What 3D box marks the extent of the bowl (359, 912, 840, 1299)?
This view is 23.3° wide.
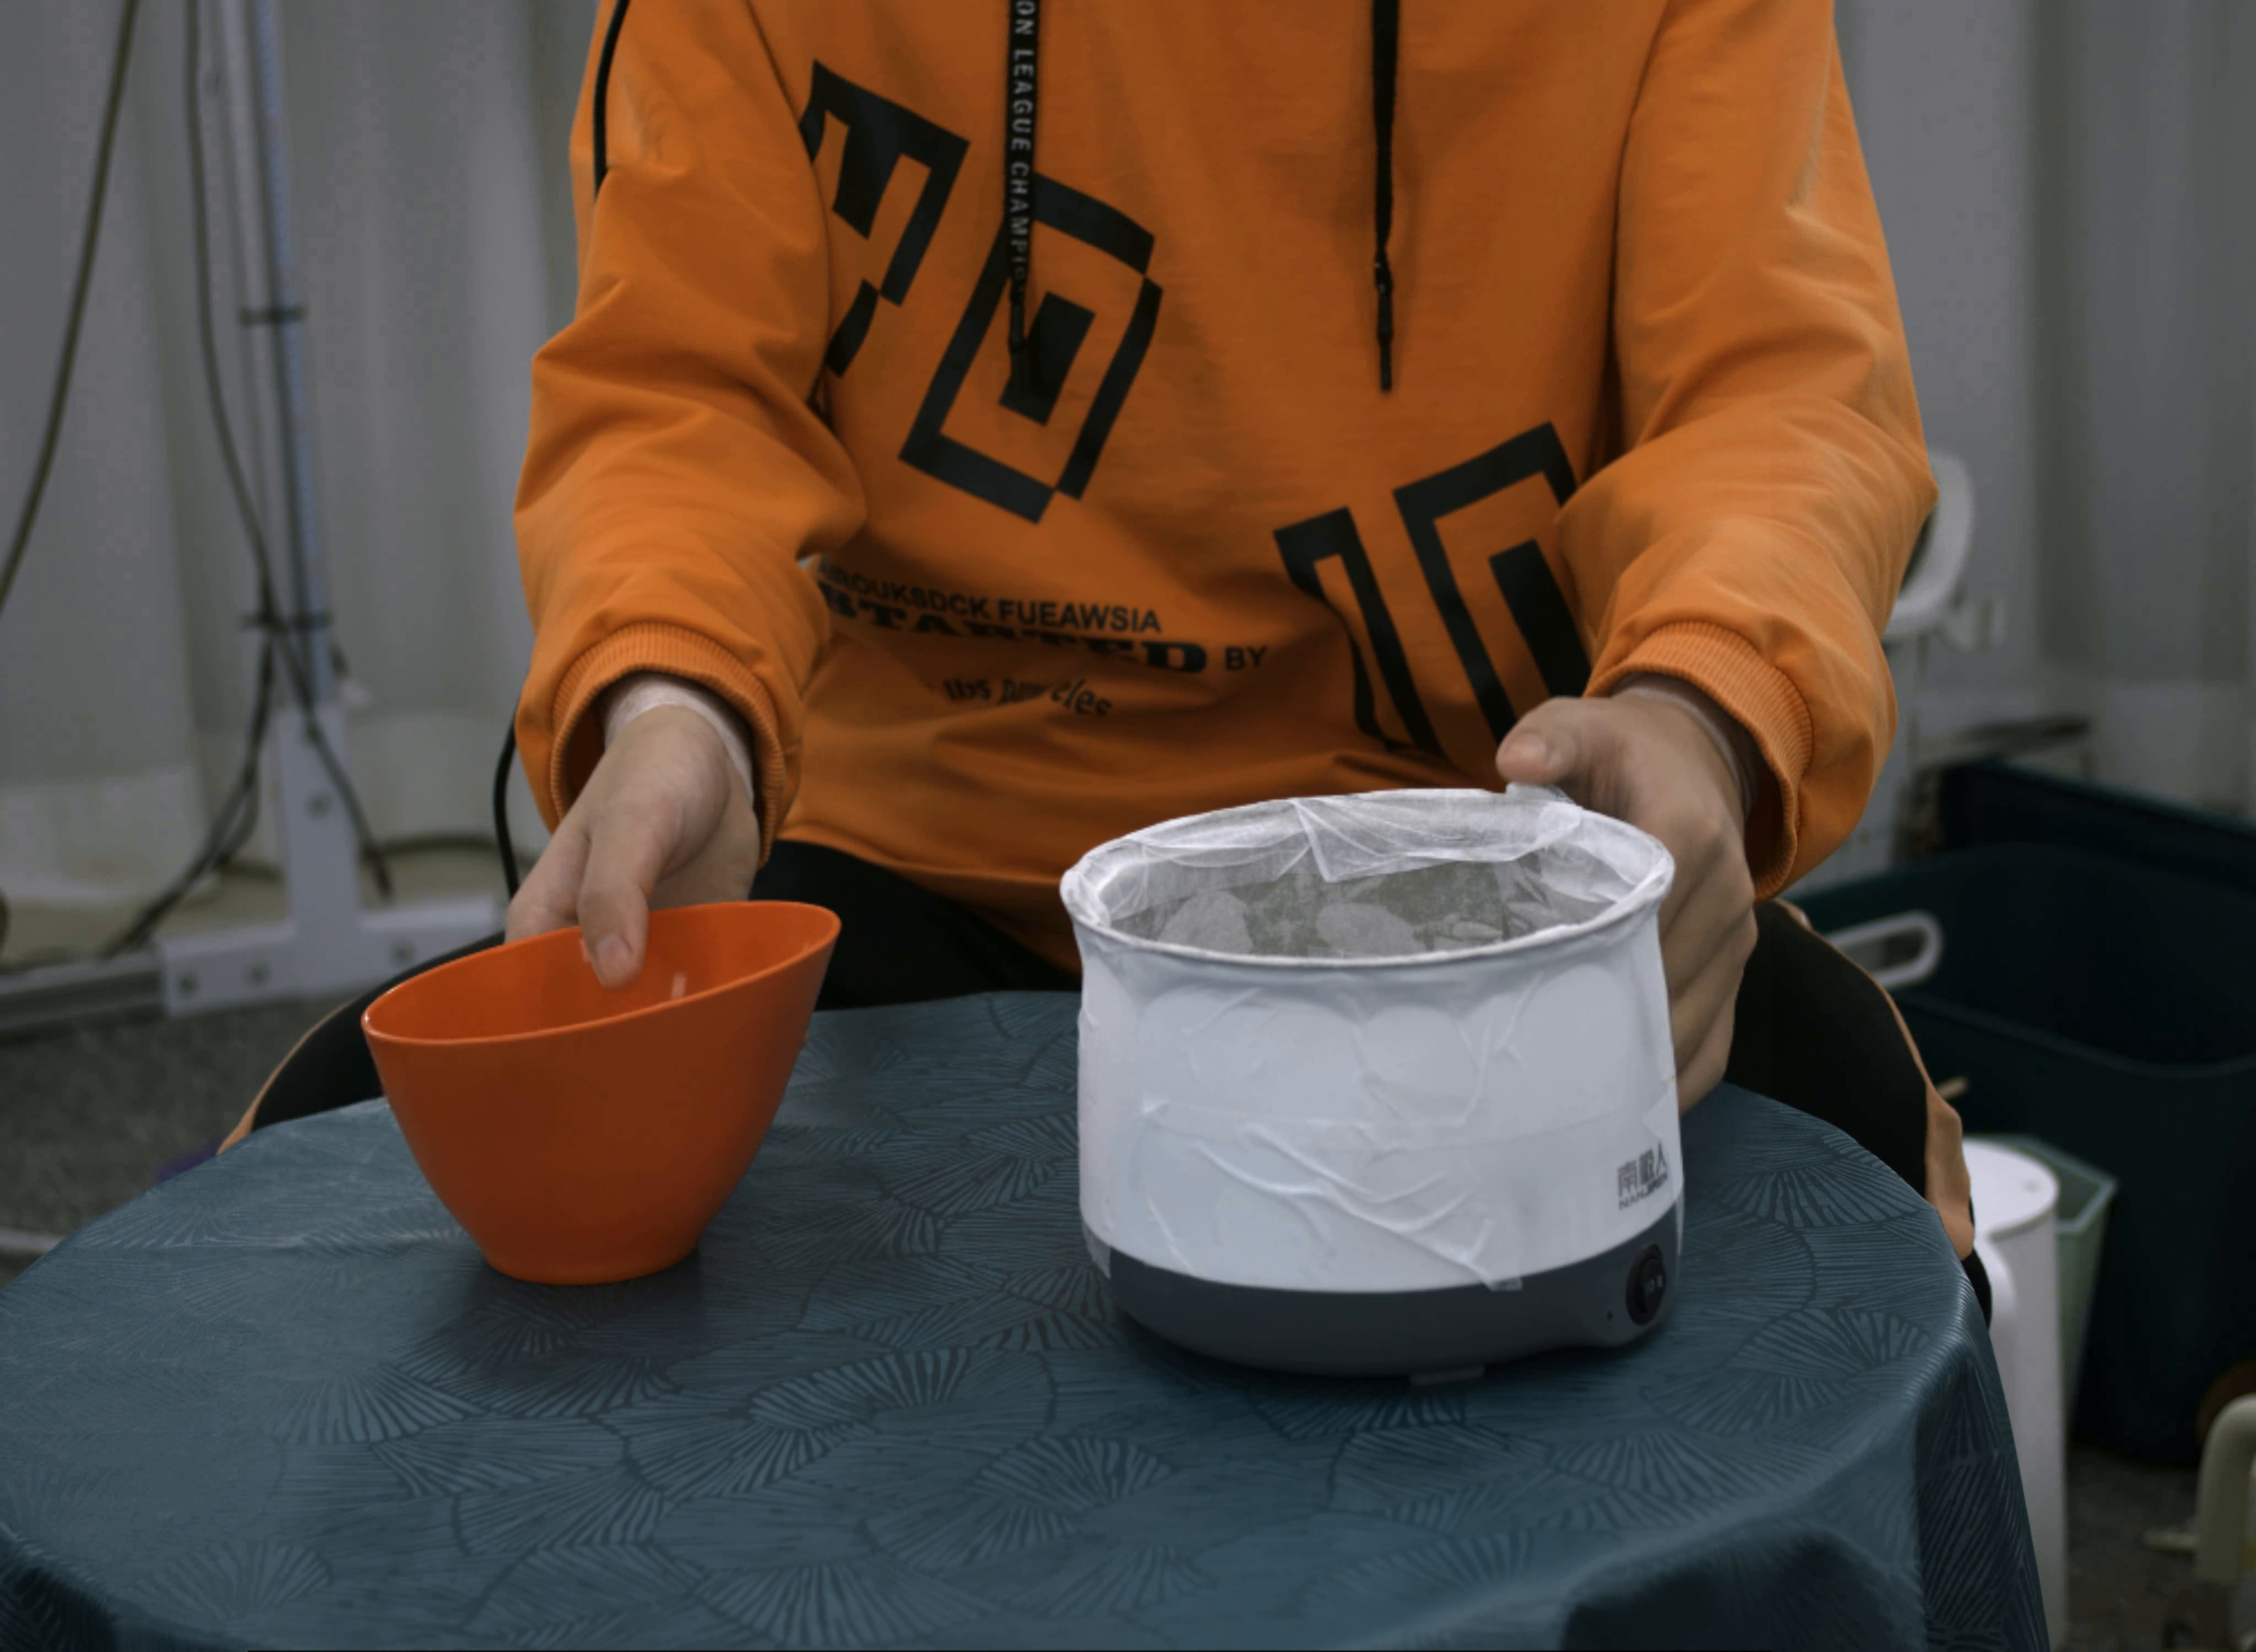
[{"bbox_3d":[-0.158,0.086,1.668,0.147,0.104,0.149,-3,15,1],"label":"bowl"}]

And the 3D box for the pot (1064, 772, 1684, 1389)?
[{"bbox_3d":[0.086,0.068,1.610,0.179,0.136,0.234,6,18,30],"label":"pot"}]
